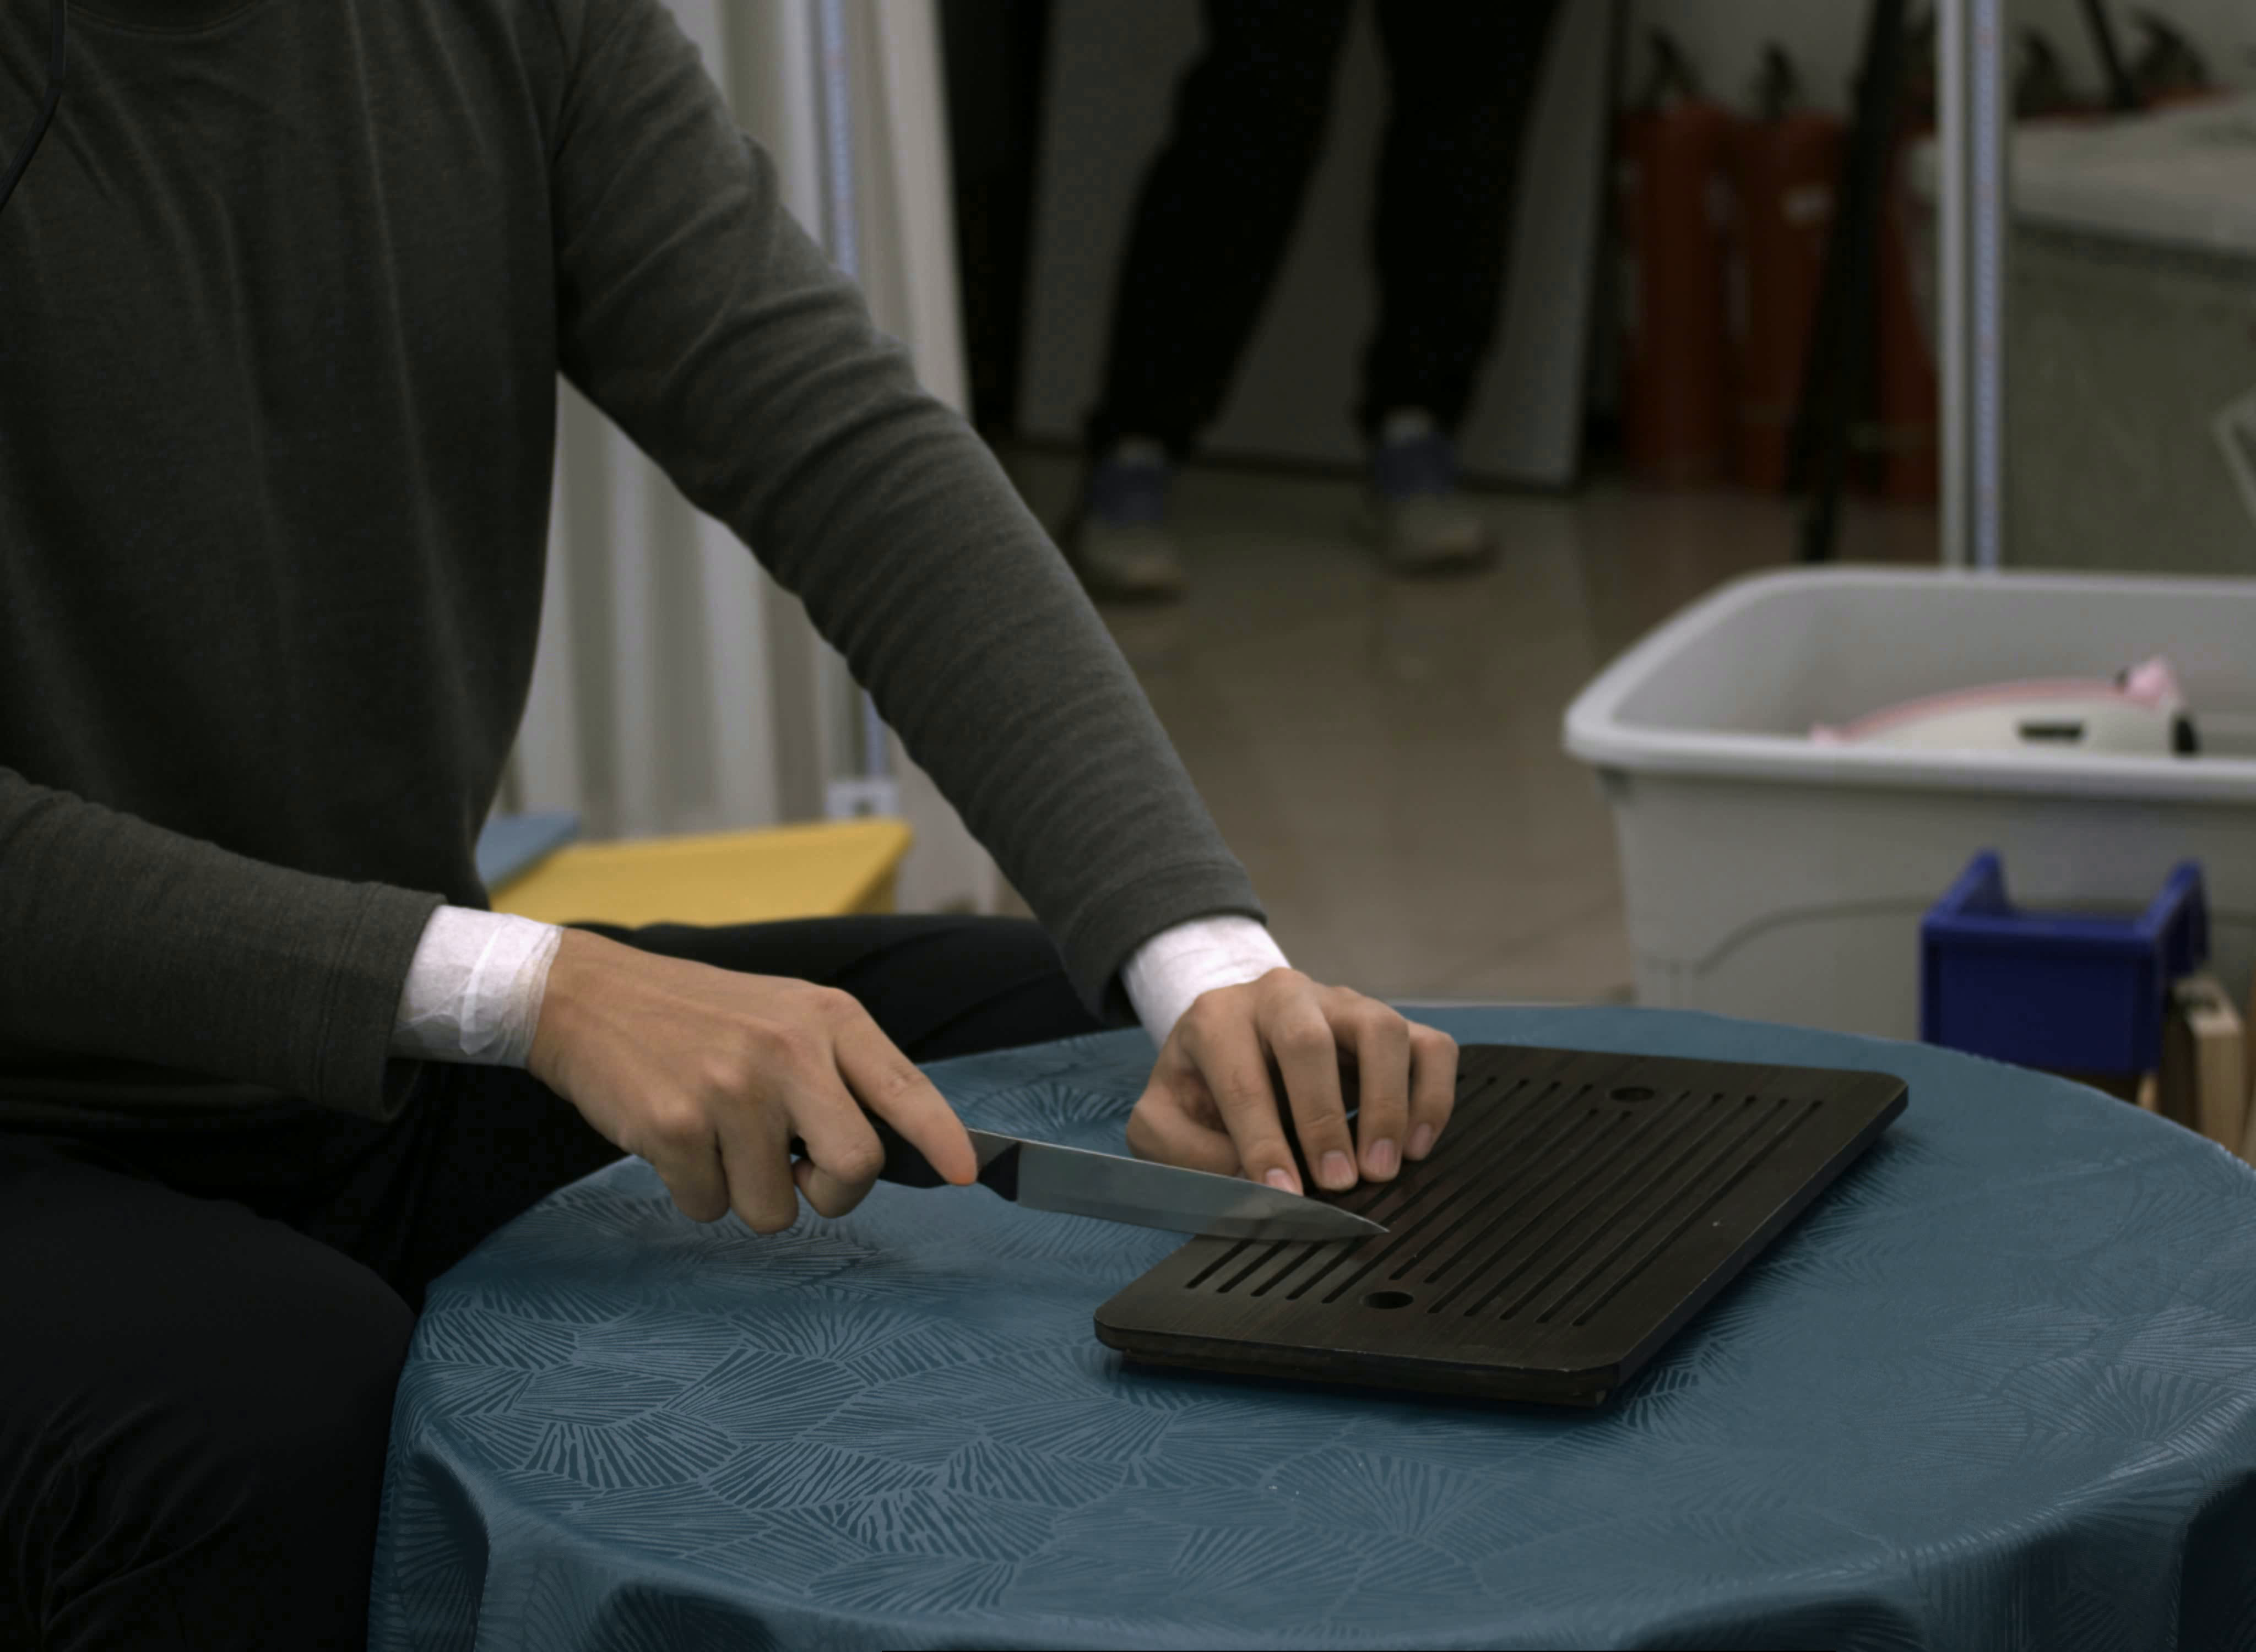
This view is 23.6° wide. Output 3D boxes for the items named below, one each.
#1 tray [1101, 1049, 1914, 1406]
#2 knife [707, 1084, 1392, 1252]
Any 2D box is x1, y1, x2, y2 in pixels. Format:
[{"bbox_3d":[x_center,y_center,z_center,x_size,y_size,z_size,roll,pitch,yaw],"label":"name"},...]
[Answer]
[{"bbox_3d":[0.127,0.123,1.692,0.170,0.019,0.302,2,15,26],"label":"tray"},{"bbox_3d":[-0.026,0.108,1.691,0.238,0.025,0.016,10,9,24],"label":"knife"}]
